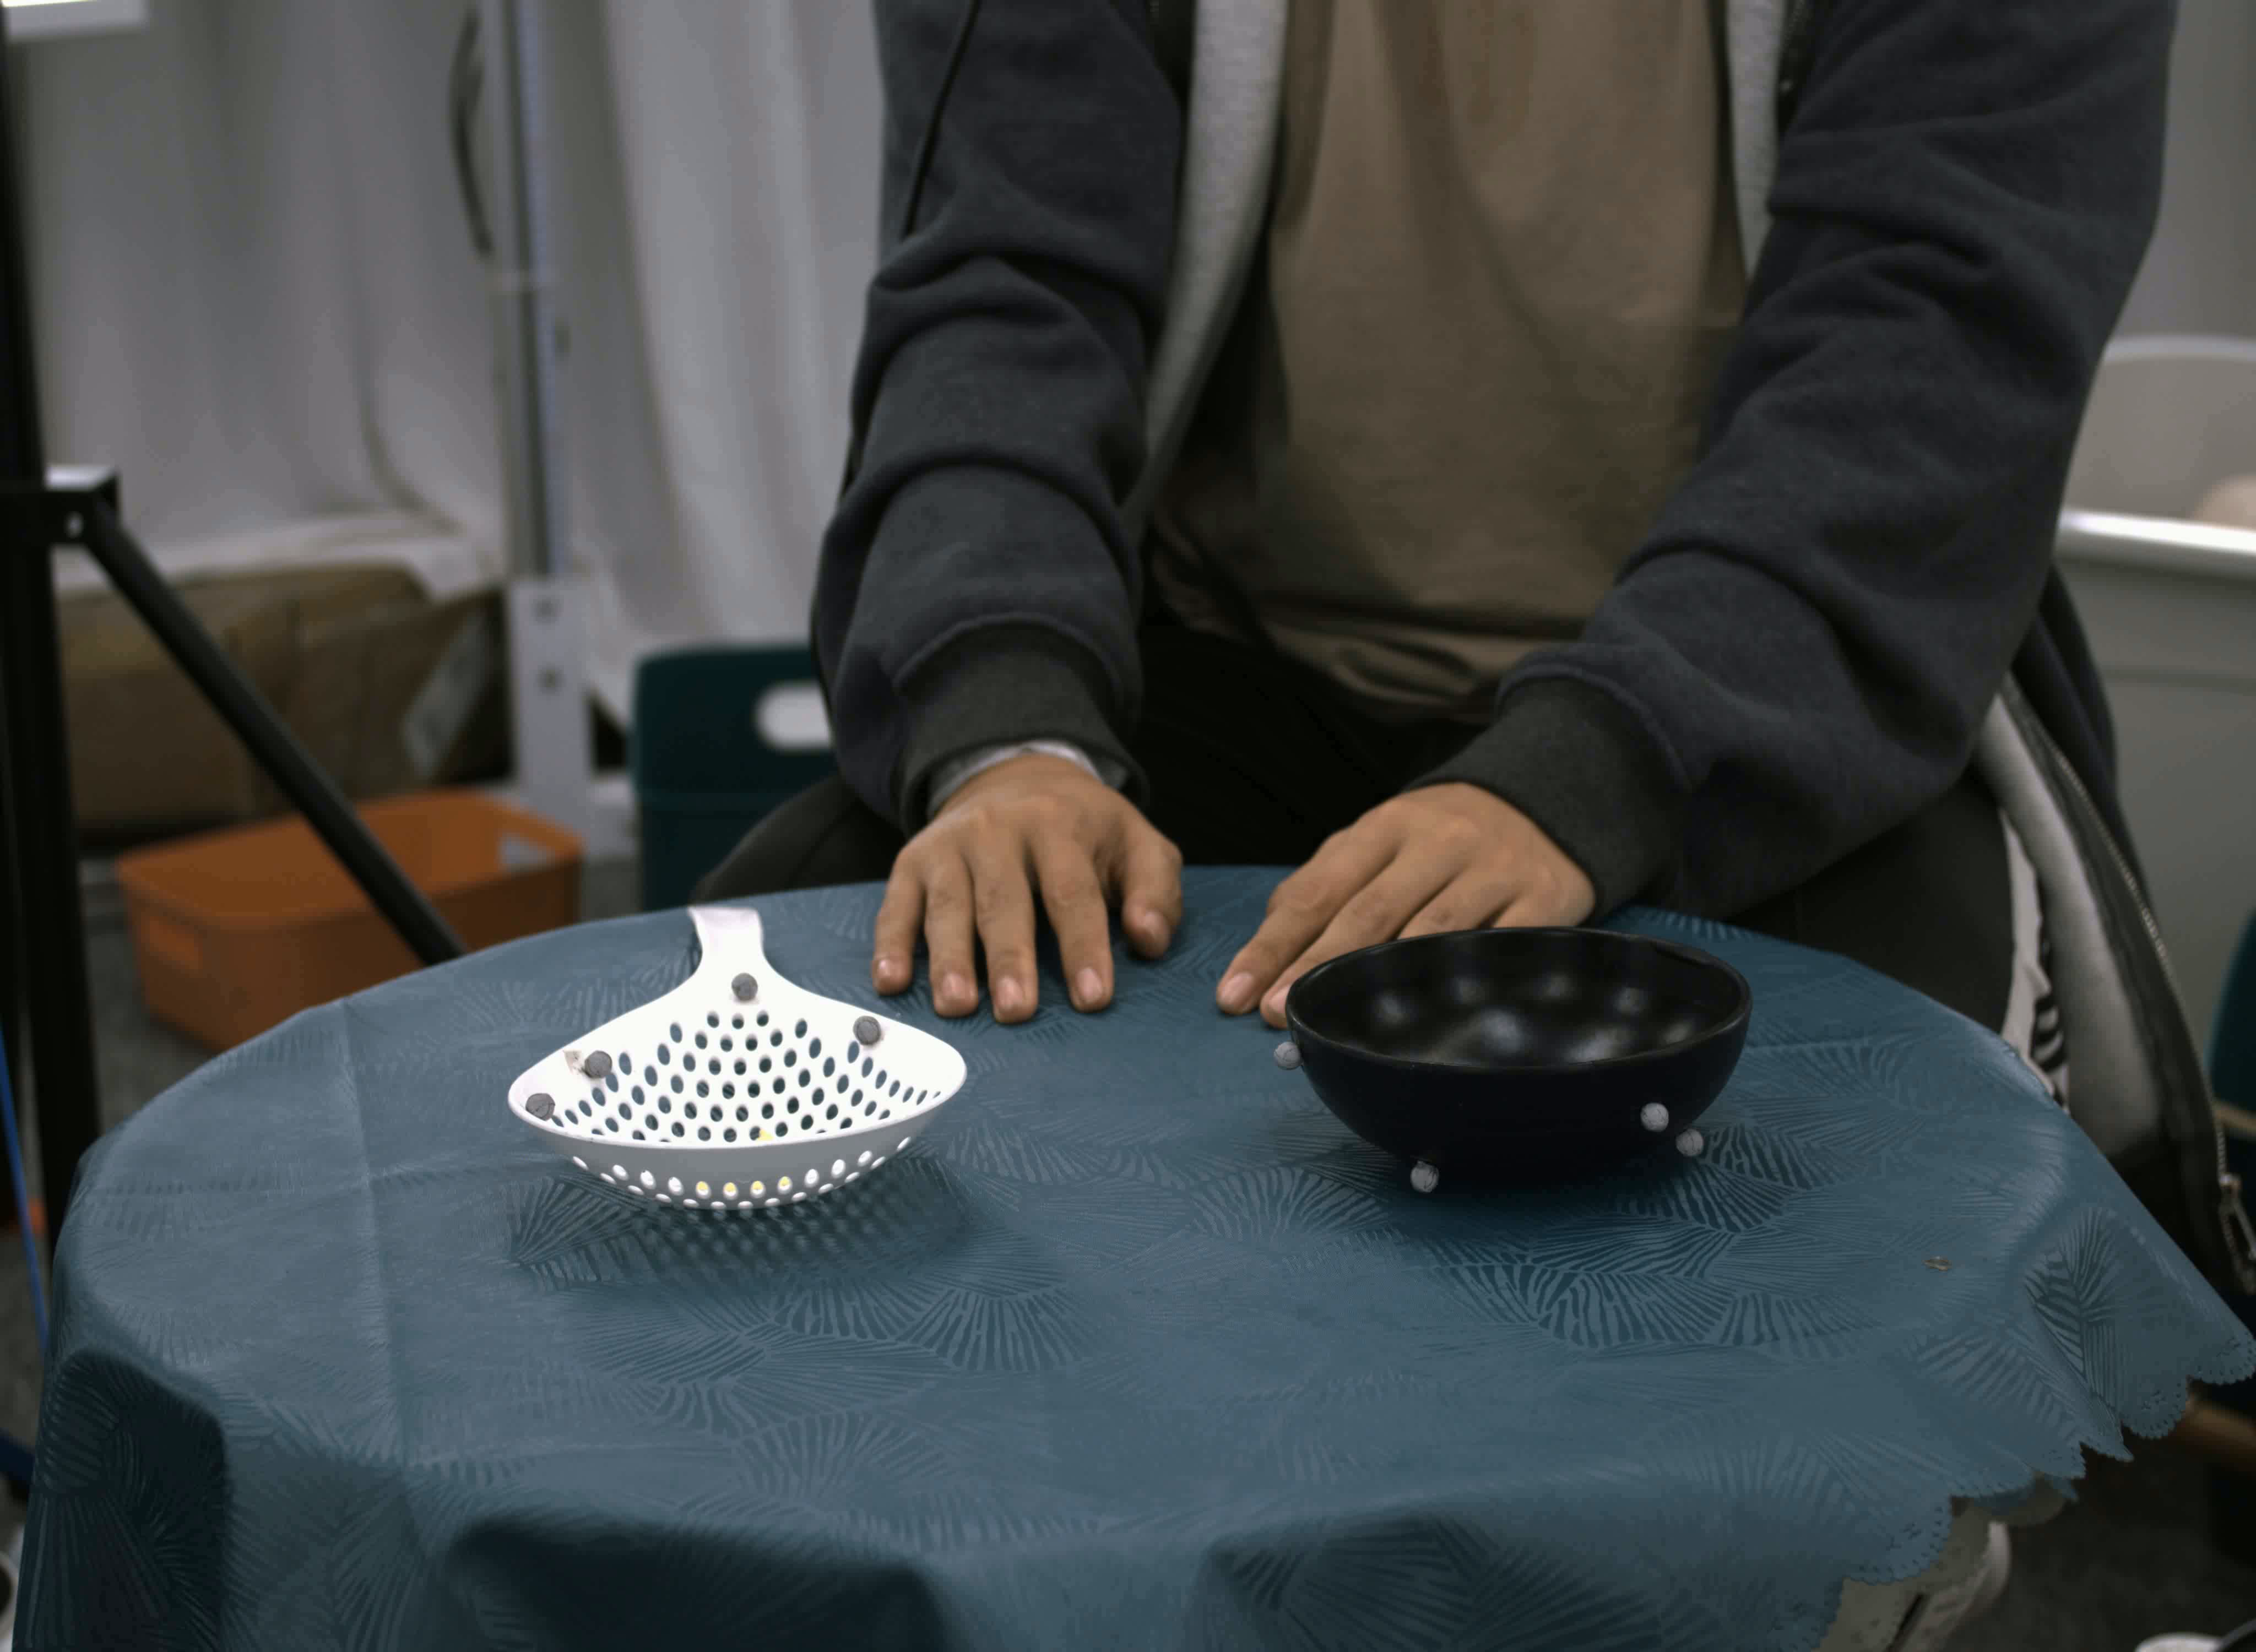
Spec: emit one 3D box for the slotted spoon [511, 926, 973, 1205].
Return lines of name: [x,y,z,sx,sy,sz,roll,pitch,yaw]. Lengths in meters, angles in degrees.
slotted spoon: [-0.124,0.061,1.674,0.136,0.050,0.351,-7,16,-4]
